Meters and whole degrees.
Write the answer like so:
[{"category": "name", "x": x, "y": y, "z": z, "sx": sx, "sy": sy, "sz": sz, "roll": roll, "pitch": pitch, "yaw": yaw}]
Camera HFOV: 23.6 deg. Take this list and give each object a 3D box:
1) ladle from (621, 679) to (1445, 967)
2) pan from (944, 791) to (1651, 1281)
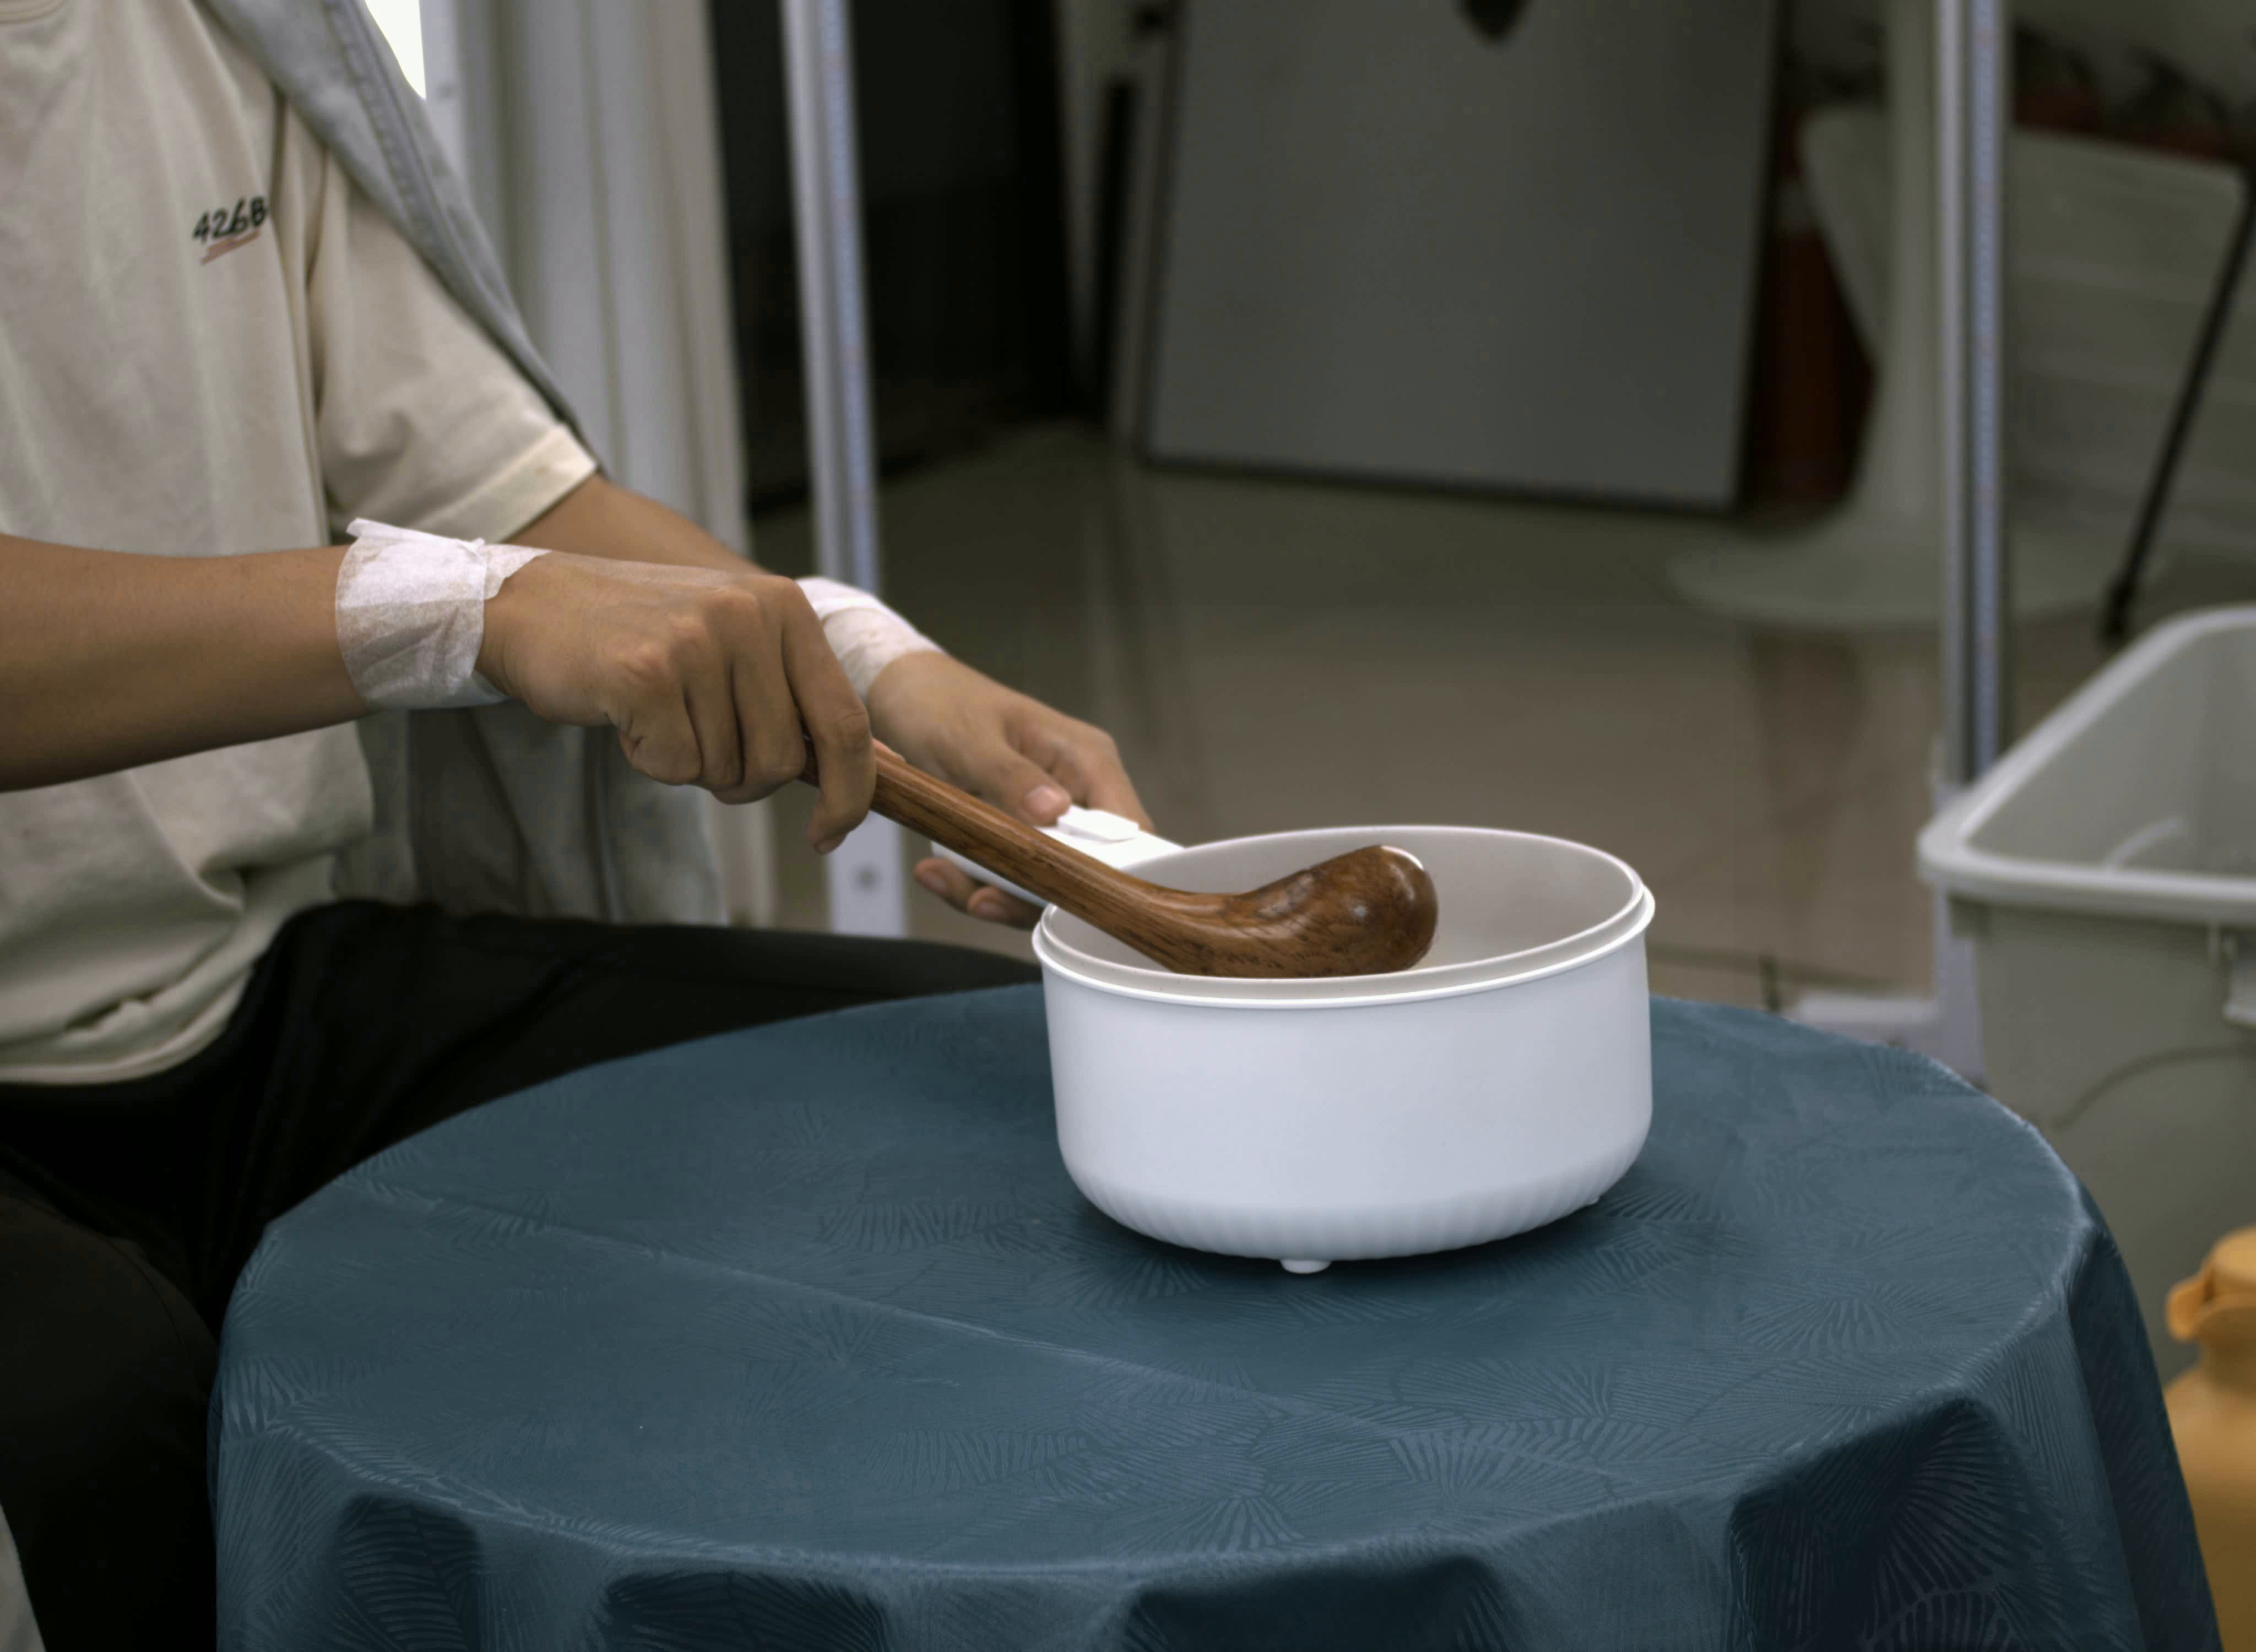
[{"category": "ladle", "x": -0.028, "y": -0.003, "z": 1.748, "sx": 0.272, "sy": 0.083, "sz": 0.076, "roll": 22, "pitch": 22, "yaw": 4}, {"category": "pan", "x": 0.035, "y": 0.062, "z": 1.804, "sx": 0.197, "sy": 0.103, "sz": 0.358, "roll": -12, "pitch": 14, "yaw": -26}]
